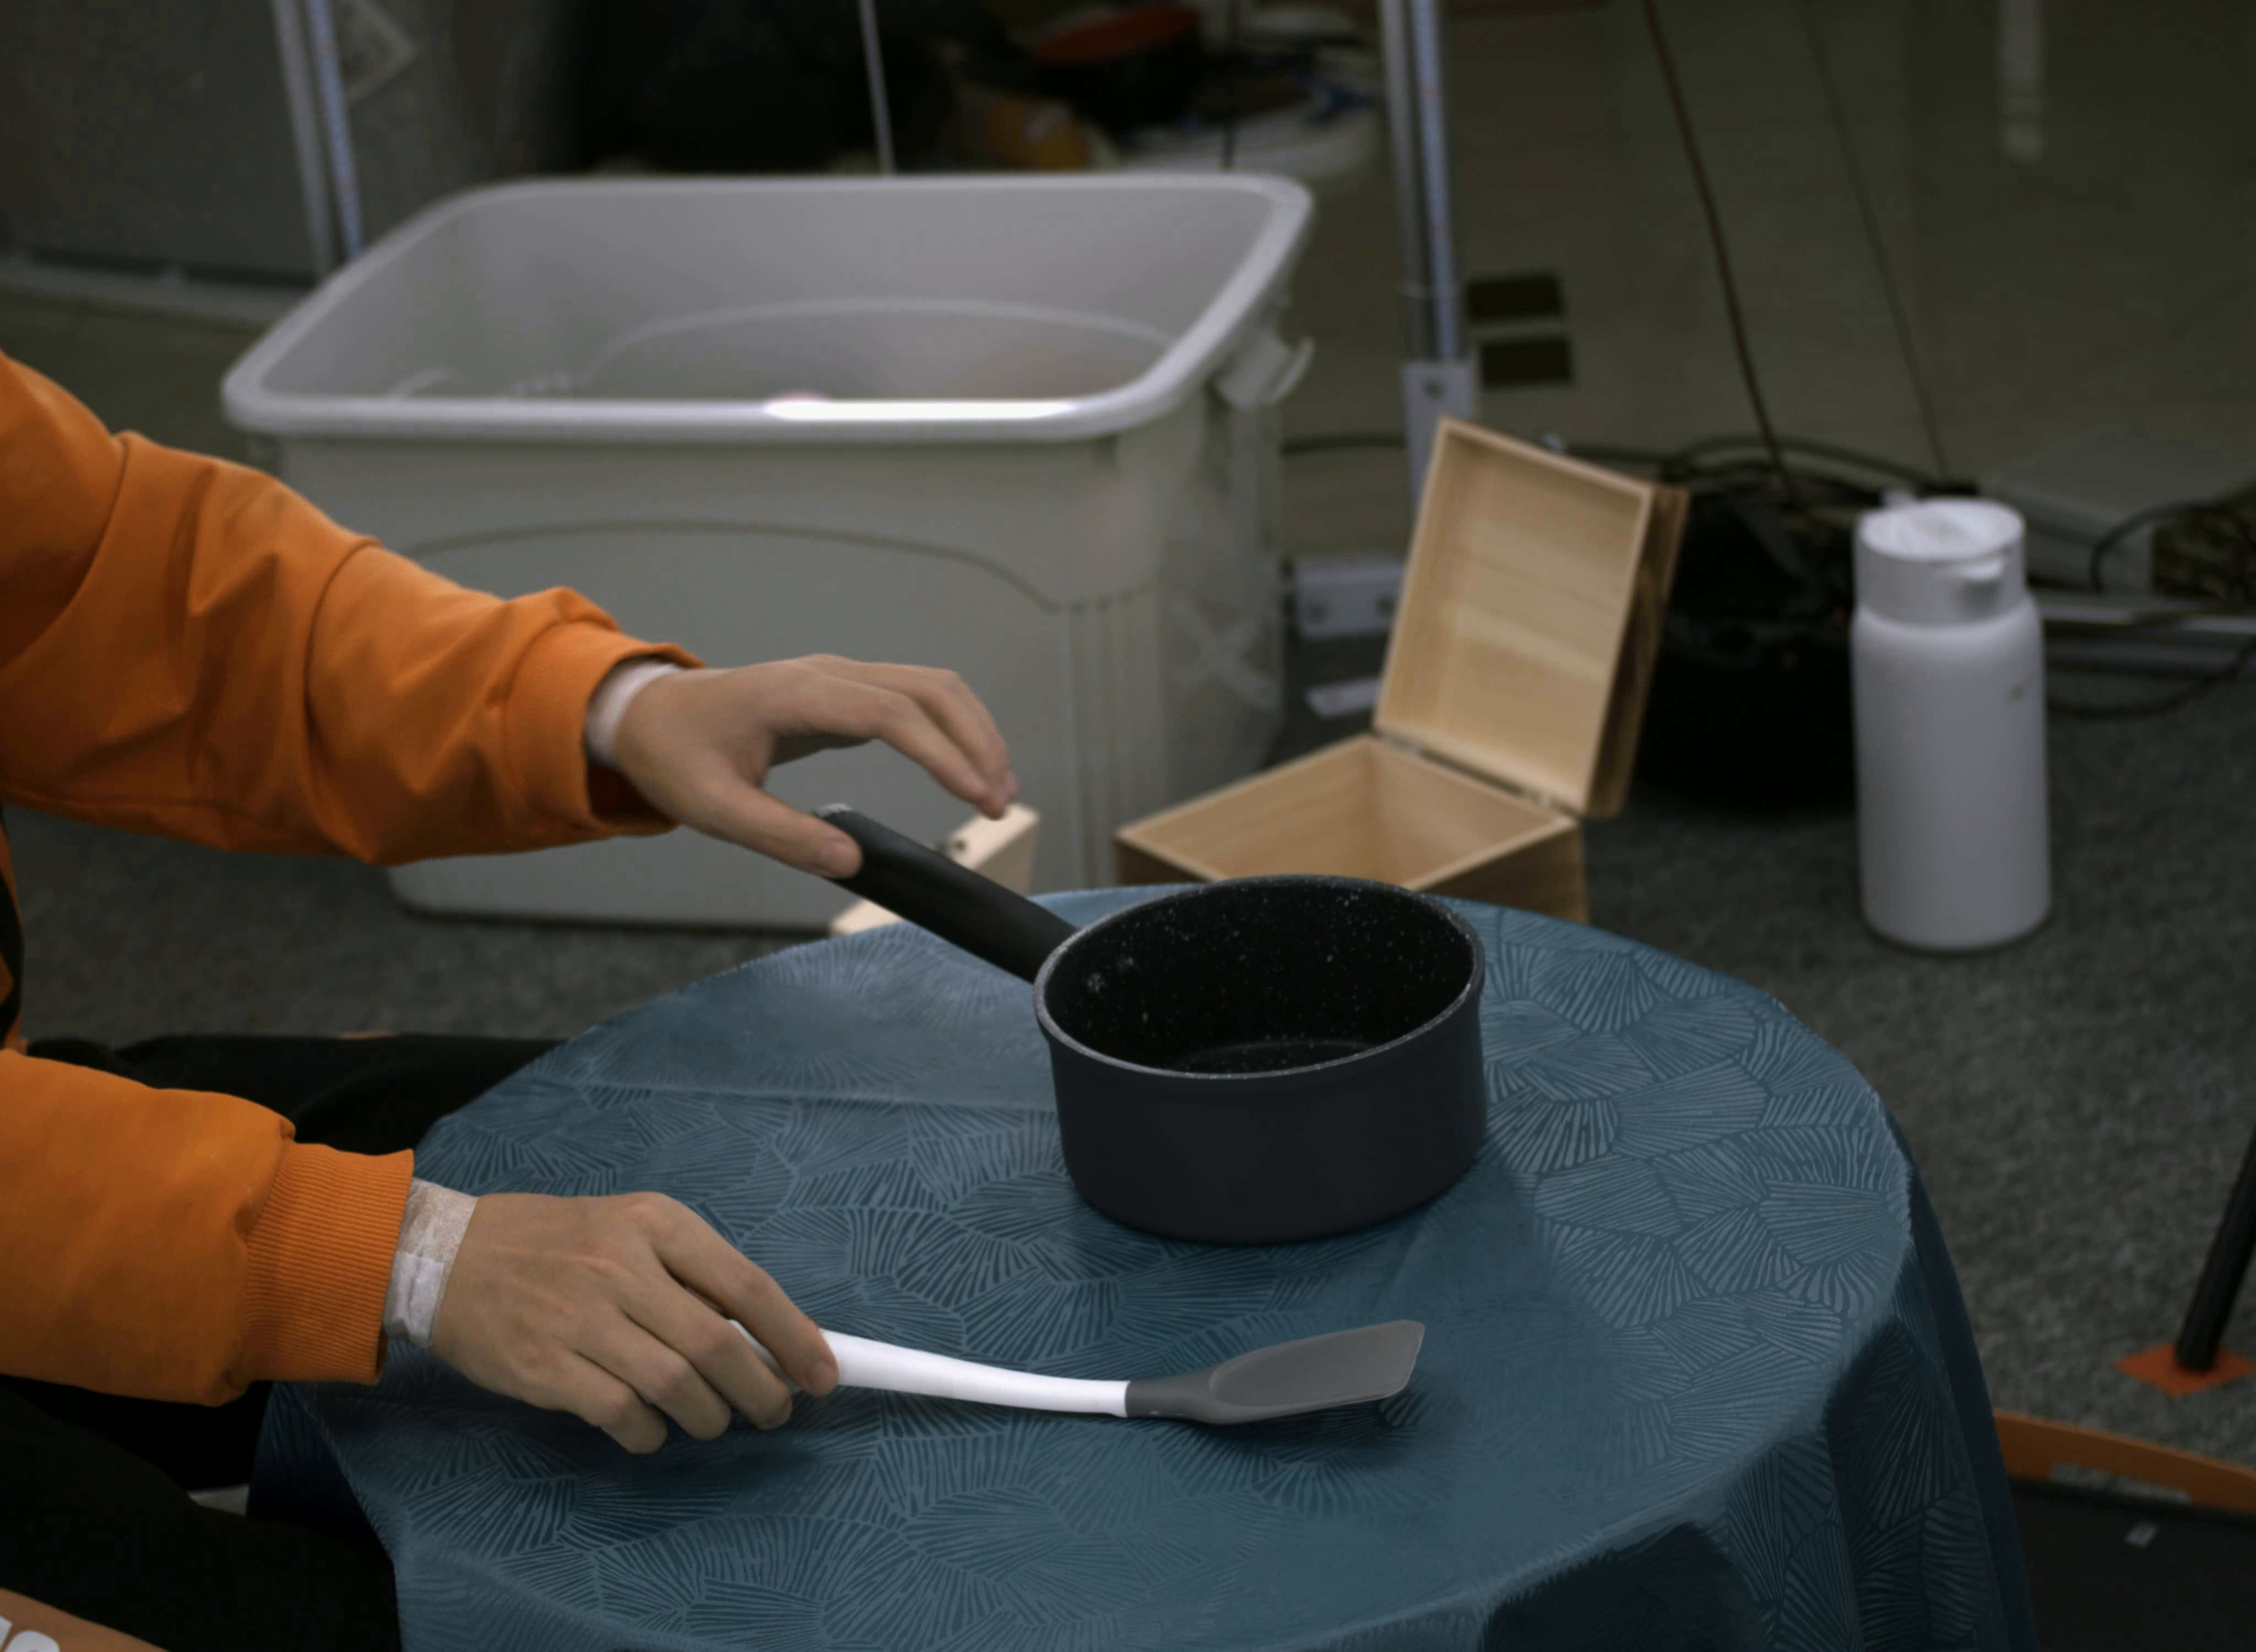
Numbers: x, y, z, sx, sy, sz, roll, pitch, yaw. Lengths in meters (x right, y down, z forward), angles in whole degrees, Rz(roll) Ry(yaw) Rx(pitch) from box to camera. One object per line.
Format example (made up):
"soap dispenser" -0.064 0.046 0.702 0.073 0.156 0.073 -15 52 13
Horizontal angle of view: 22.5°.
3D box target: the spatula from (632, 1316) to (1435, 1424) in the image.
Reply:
"spatula" -0.034 0.193 2.003 0.287 0.032 0.058 -1 21 14

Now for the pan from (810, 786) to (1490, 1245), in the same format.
"pan" -0.003 0.067 2.200 0.326 0.088 0.170 20 35 41
